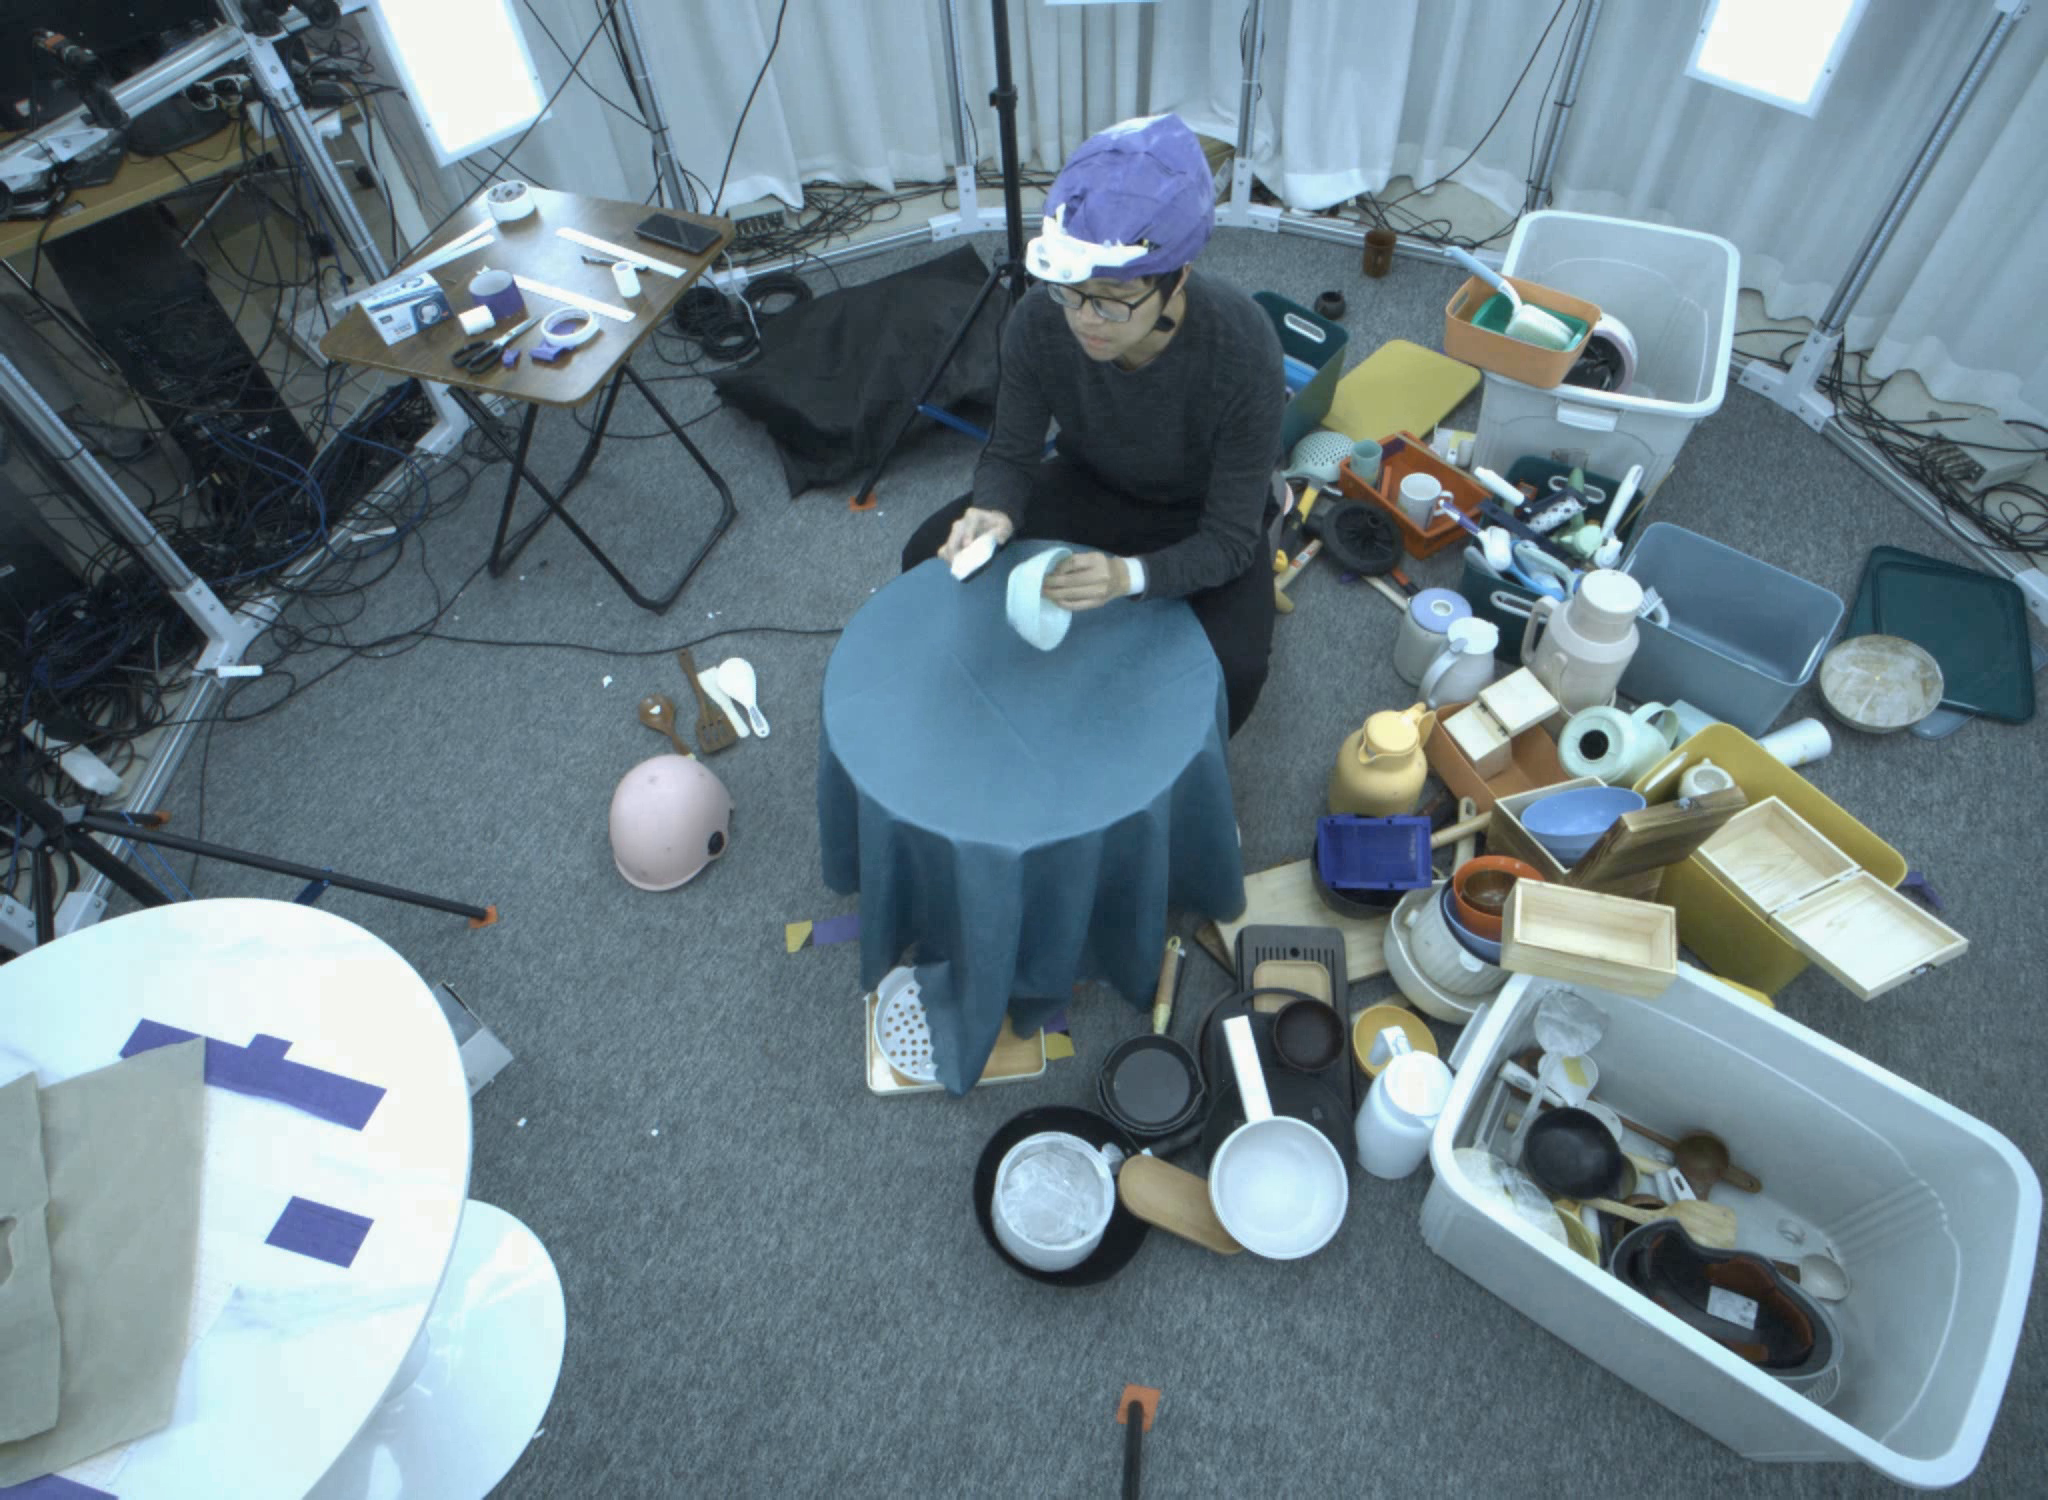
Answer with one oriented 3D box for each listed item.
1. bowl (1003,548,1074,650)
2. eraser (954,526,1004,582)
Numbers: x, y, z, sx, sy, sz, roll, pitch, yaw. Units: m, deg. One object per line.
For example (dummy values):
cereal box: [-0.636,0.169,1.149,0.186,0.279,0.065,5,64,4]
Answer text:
bowl: [0.015,-0.214,1.696,0.058,0.153,0.151,15,57,20]
eraser: [-0.063,-0.279,1.718,0.063,0.035,0.130,-33,19,18]
